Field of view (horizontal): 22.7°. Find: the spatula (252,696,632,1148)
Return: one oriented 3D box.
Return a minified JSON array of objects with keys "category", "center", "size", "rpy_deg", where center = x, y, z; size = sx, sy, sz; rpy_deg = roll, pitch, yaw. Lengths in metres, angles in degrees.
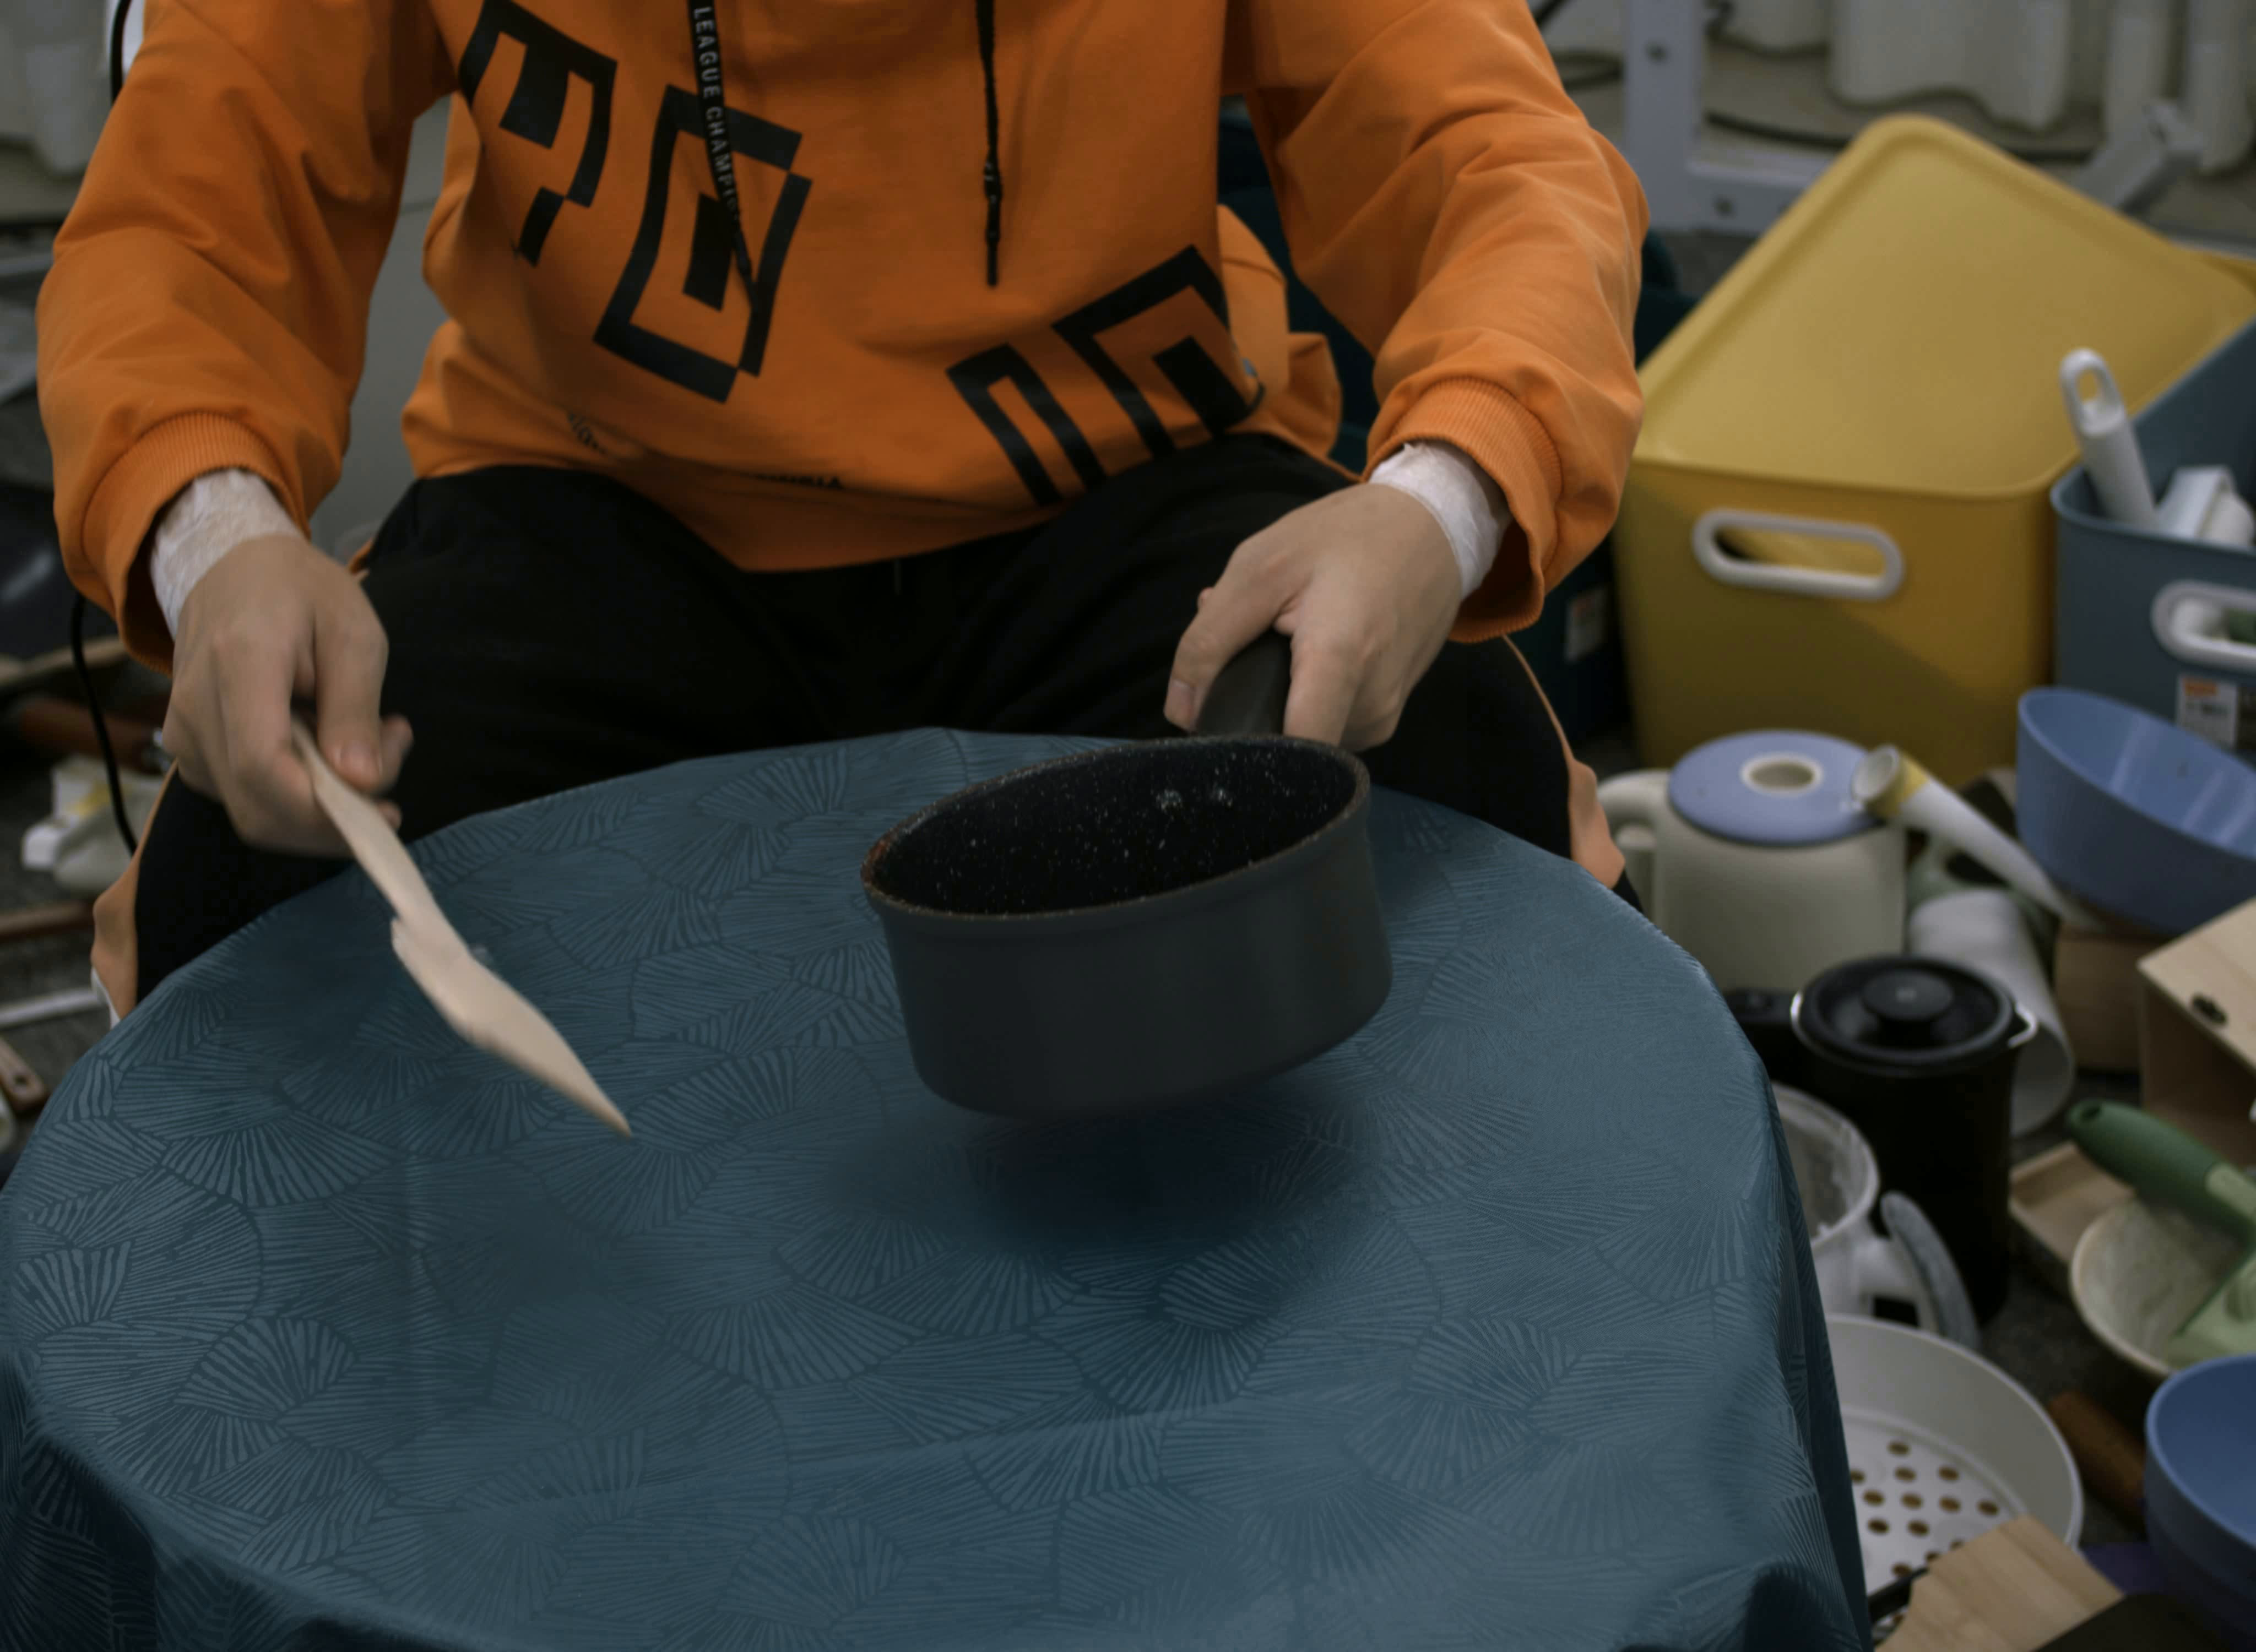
[{"category":"spatula","center":[-0.243,0.025,1.891],"size":[0.072,0.010,0.295],"rpy_deg":[32,9,-37]}]

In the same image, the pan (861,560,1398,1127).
[{"category":"pan","center":[0.029,0.004,1.928],"size":[0.170,0.086,0.334],"rpy_deg":[-3,21,22]}]
